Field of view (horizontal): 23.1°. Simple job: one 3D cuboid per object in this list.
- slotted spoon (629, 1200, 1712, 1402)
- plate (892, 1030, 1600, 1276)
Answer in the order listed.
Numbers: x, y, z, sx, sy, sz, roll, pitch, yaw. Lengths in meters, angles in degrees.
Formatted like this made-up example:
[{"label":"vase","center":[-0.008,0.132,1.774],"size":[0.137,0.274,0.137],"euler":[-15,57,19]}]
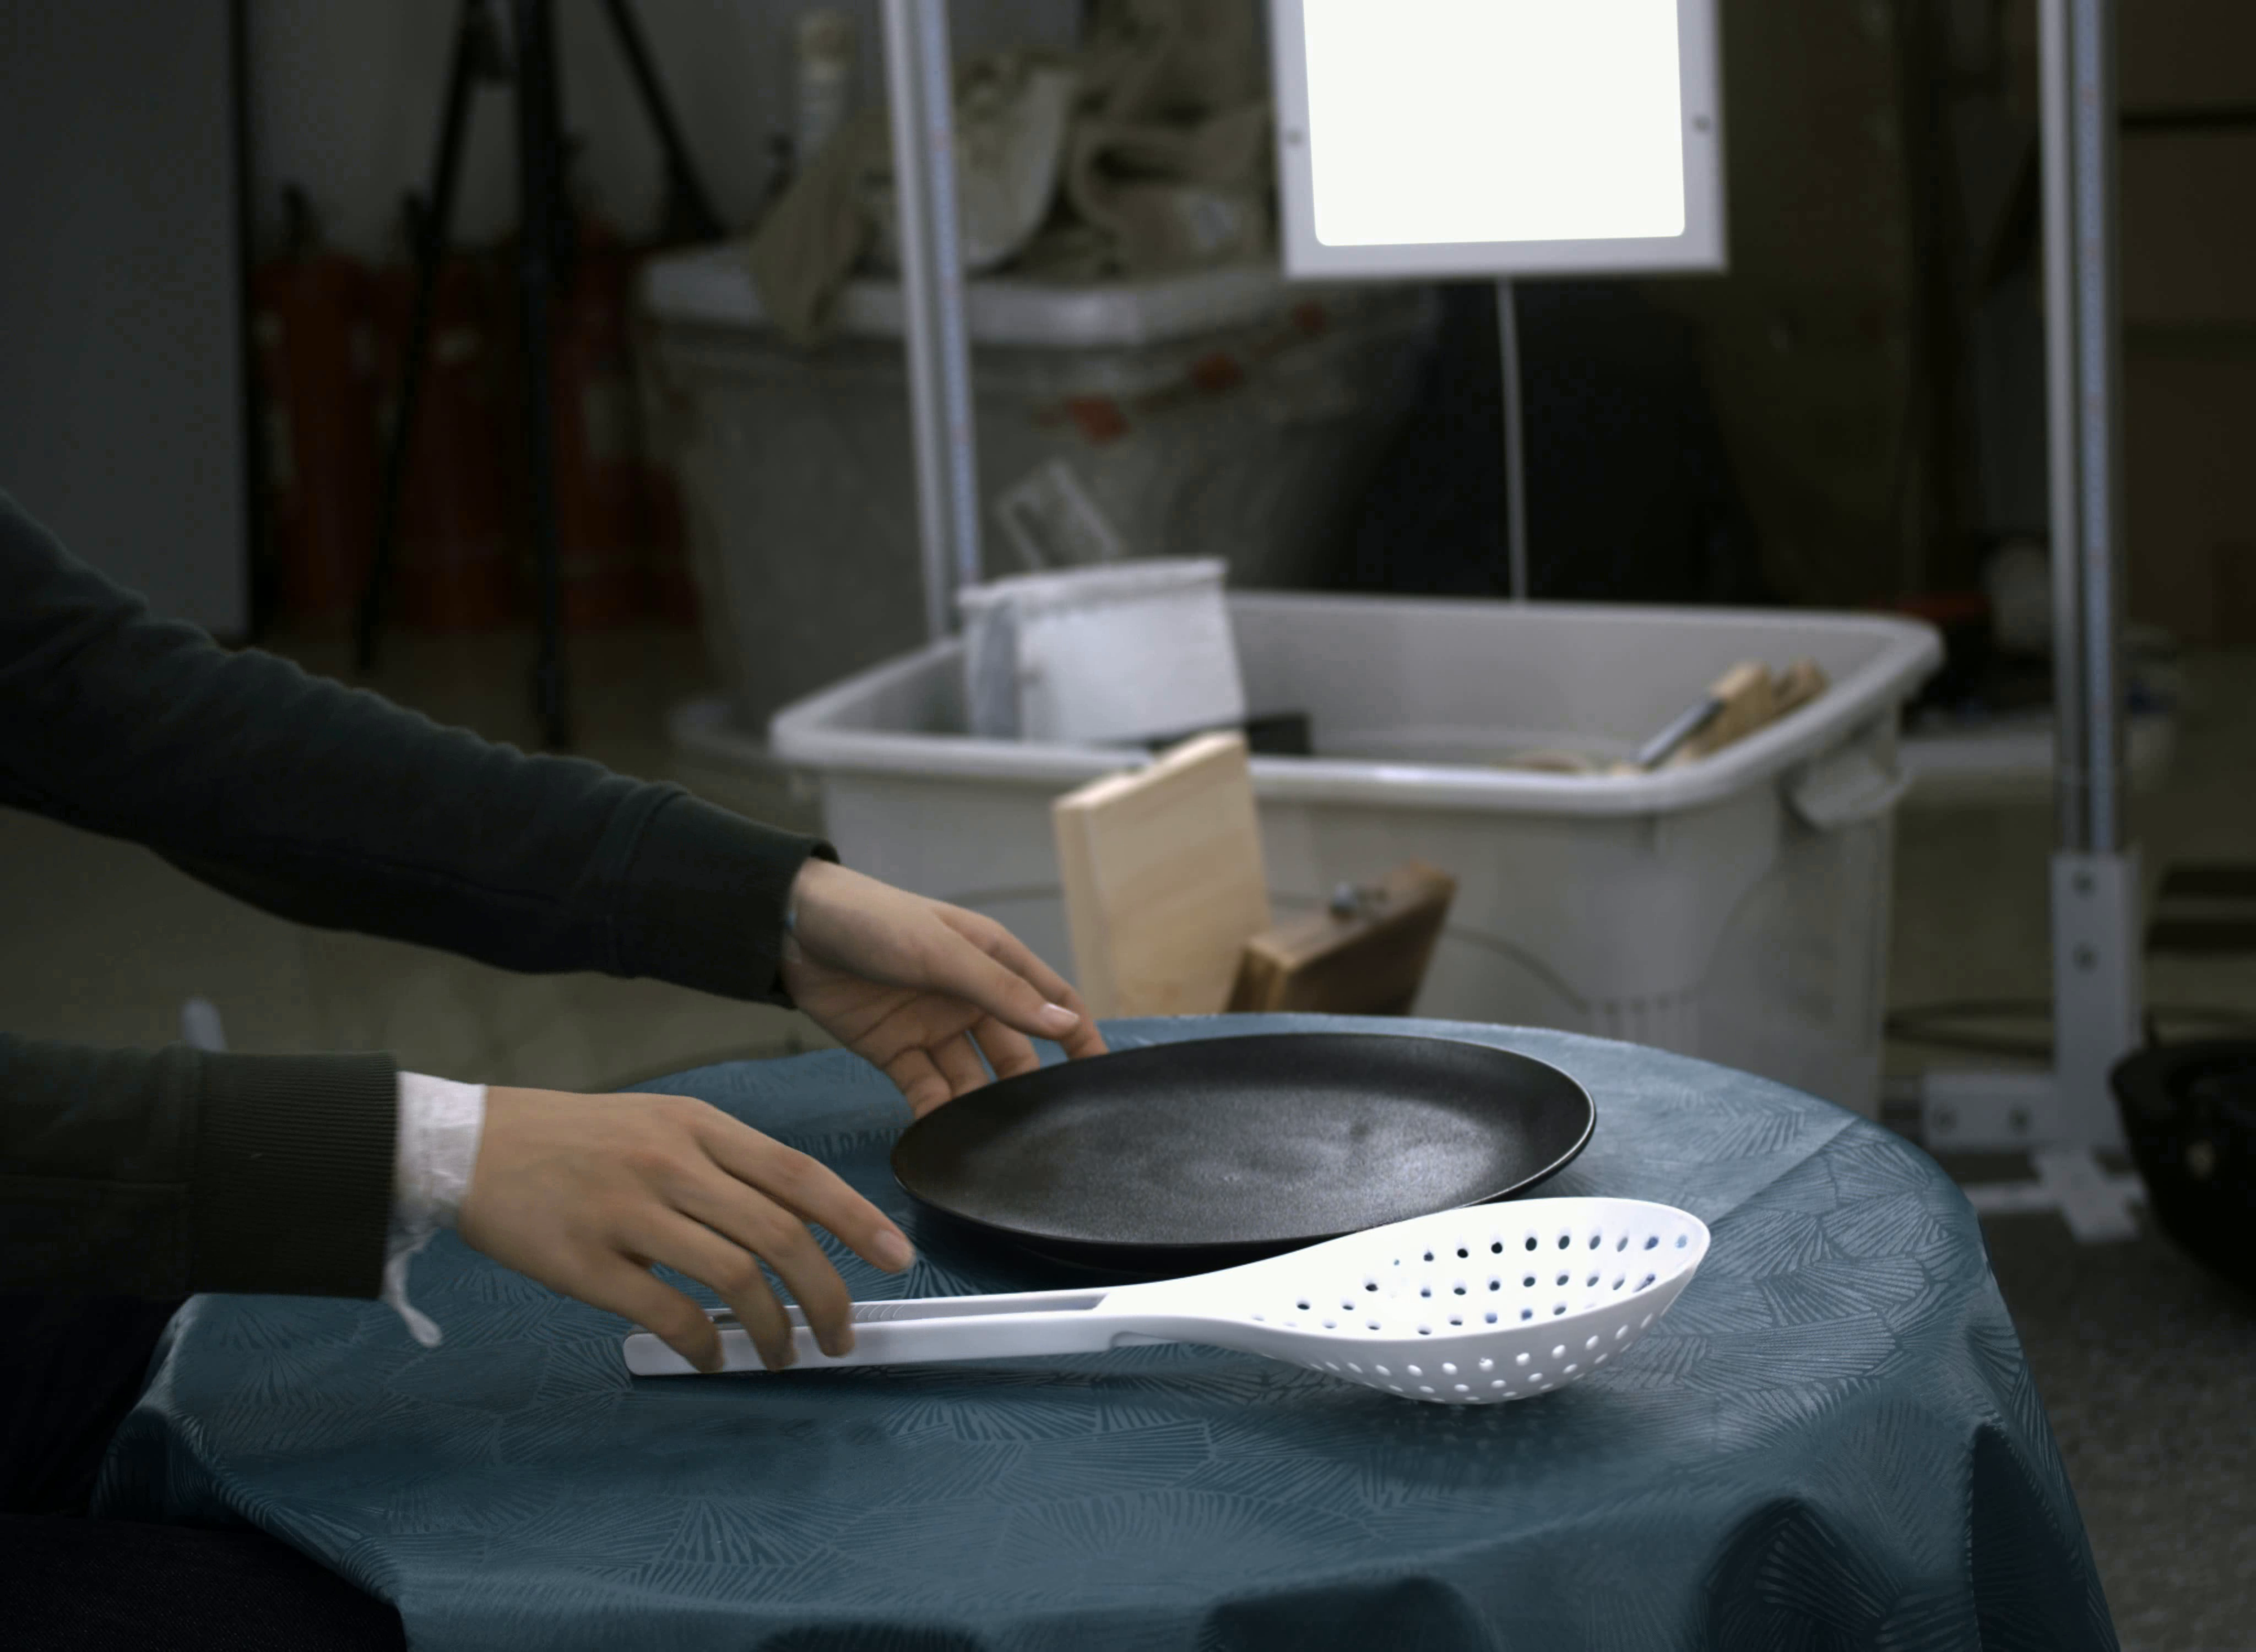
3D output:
[{"label":"slotted spoon","center":[0.009,0.150,1.702],"size":[0.354,0.046,0.134],"euler":[-1,12,19]},{"label":"plate","center":[0.041,0.114,1.884],"size":[0.244,0.023,0.244],"euler":[-5,14,0]}]
